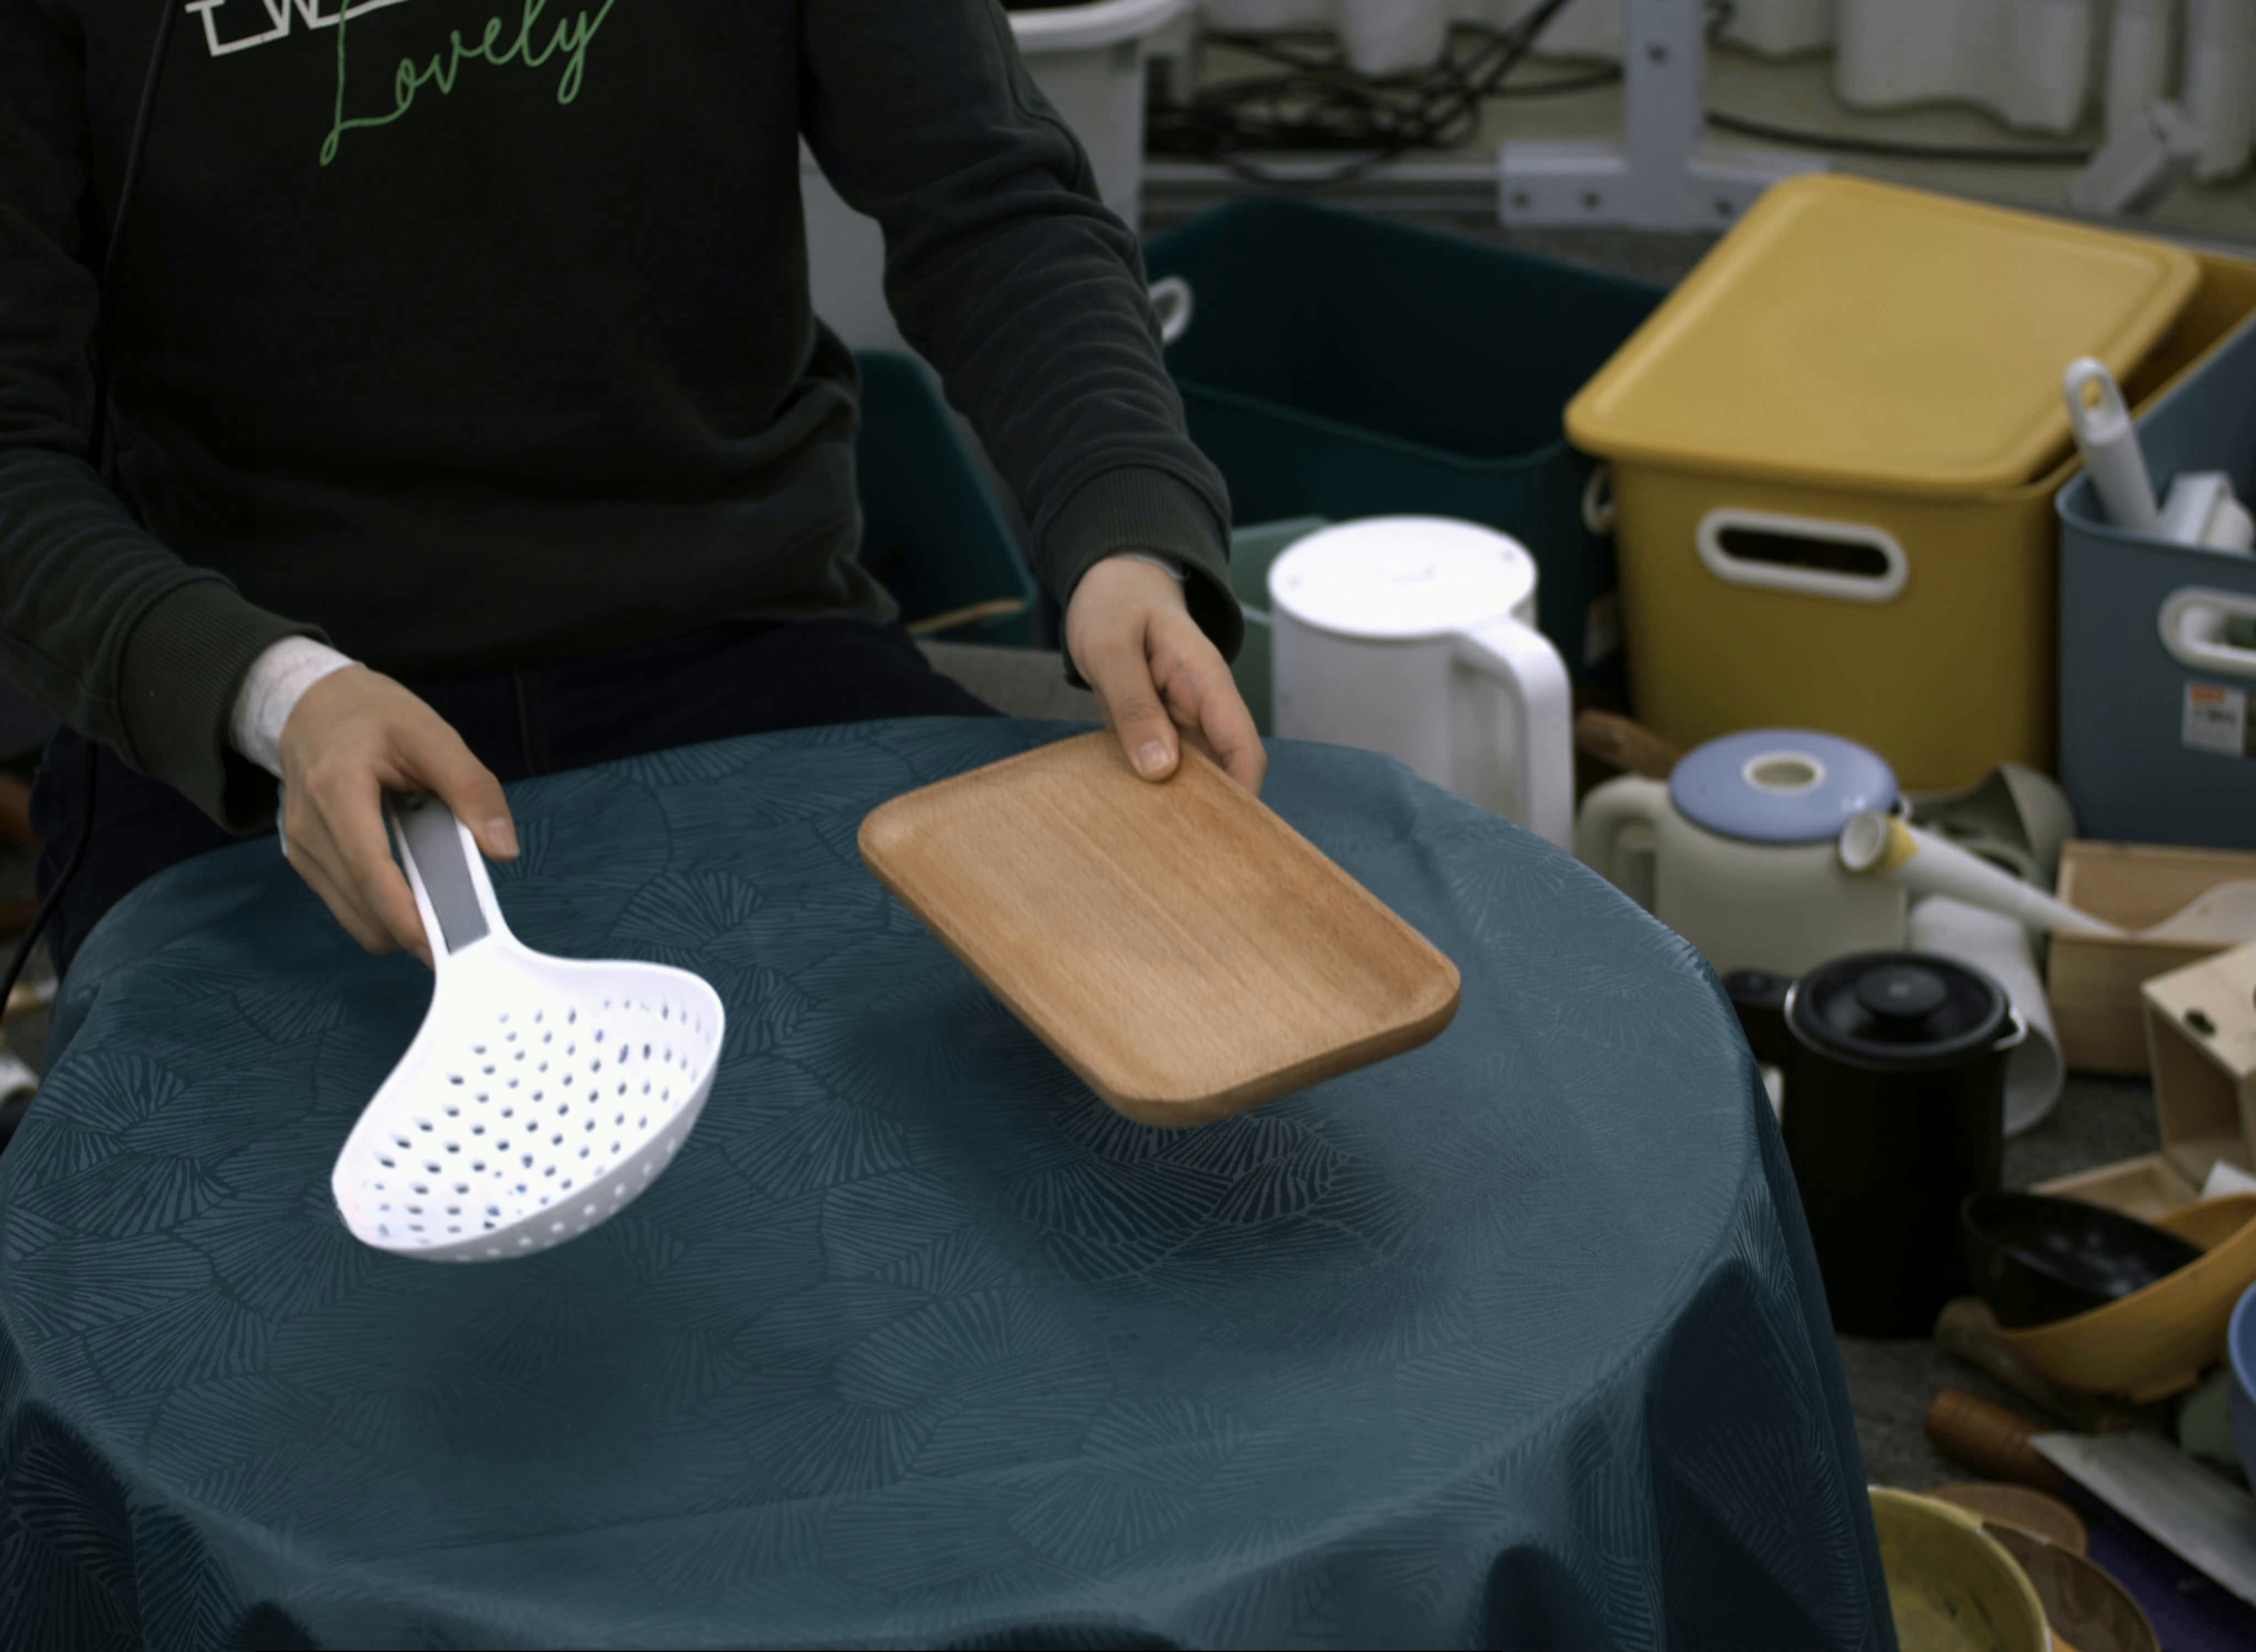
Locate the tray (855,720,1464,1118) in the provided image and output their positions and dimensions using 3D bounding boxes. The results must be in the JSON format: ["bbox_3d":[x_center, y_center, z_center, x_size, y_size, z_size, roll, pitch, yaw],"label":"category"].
[{"bbox_3d":[0.007,0.028,1.881,0.131,0.022,0.252,-16,27,-20],"label":"tray"}]

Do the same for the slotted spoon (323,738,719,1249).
[{"bbox_3d":[-0.212,0.047,1.842,0.136,0.045,0.353,-27,31,-3],"label":"slotted spoon"}]
